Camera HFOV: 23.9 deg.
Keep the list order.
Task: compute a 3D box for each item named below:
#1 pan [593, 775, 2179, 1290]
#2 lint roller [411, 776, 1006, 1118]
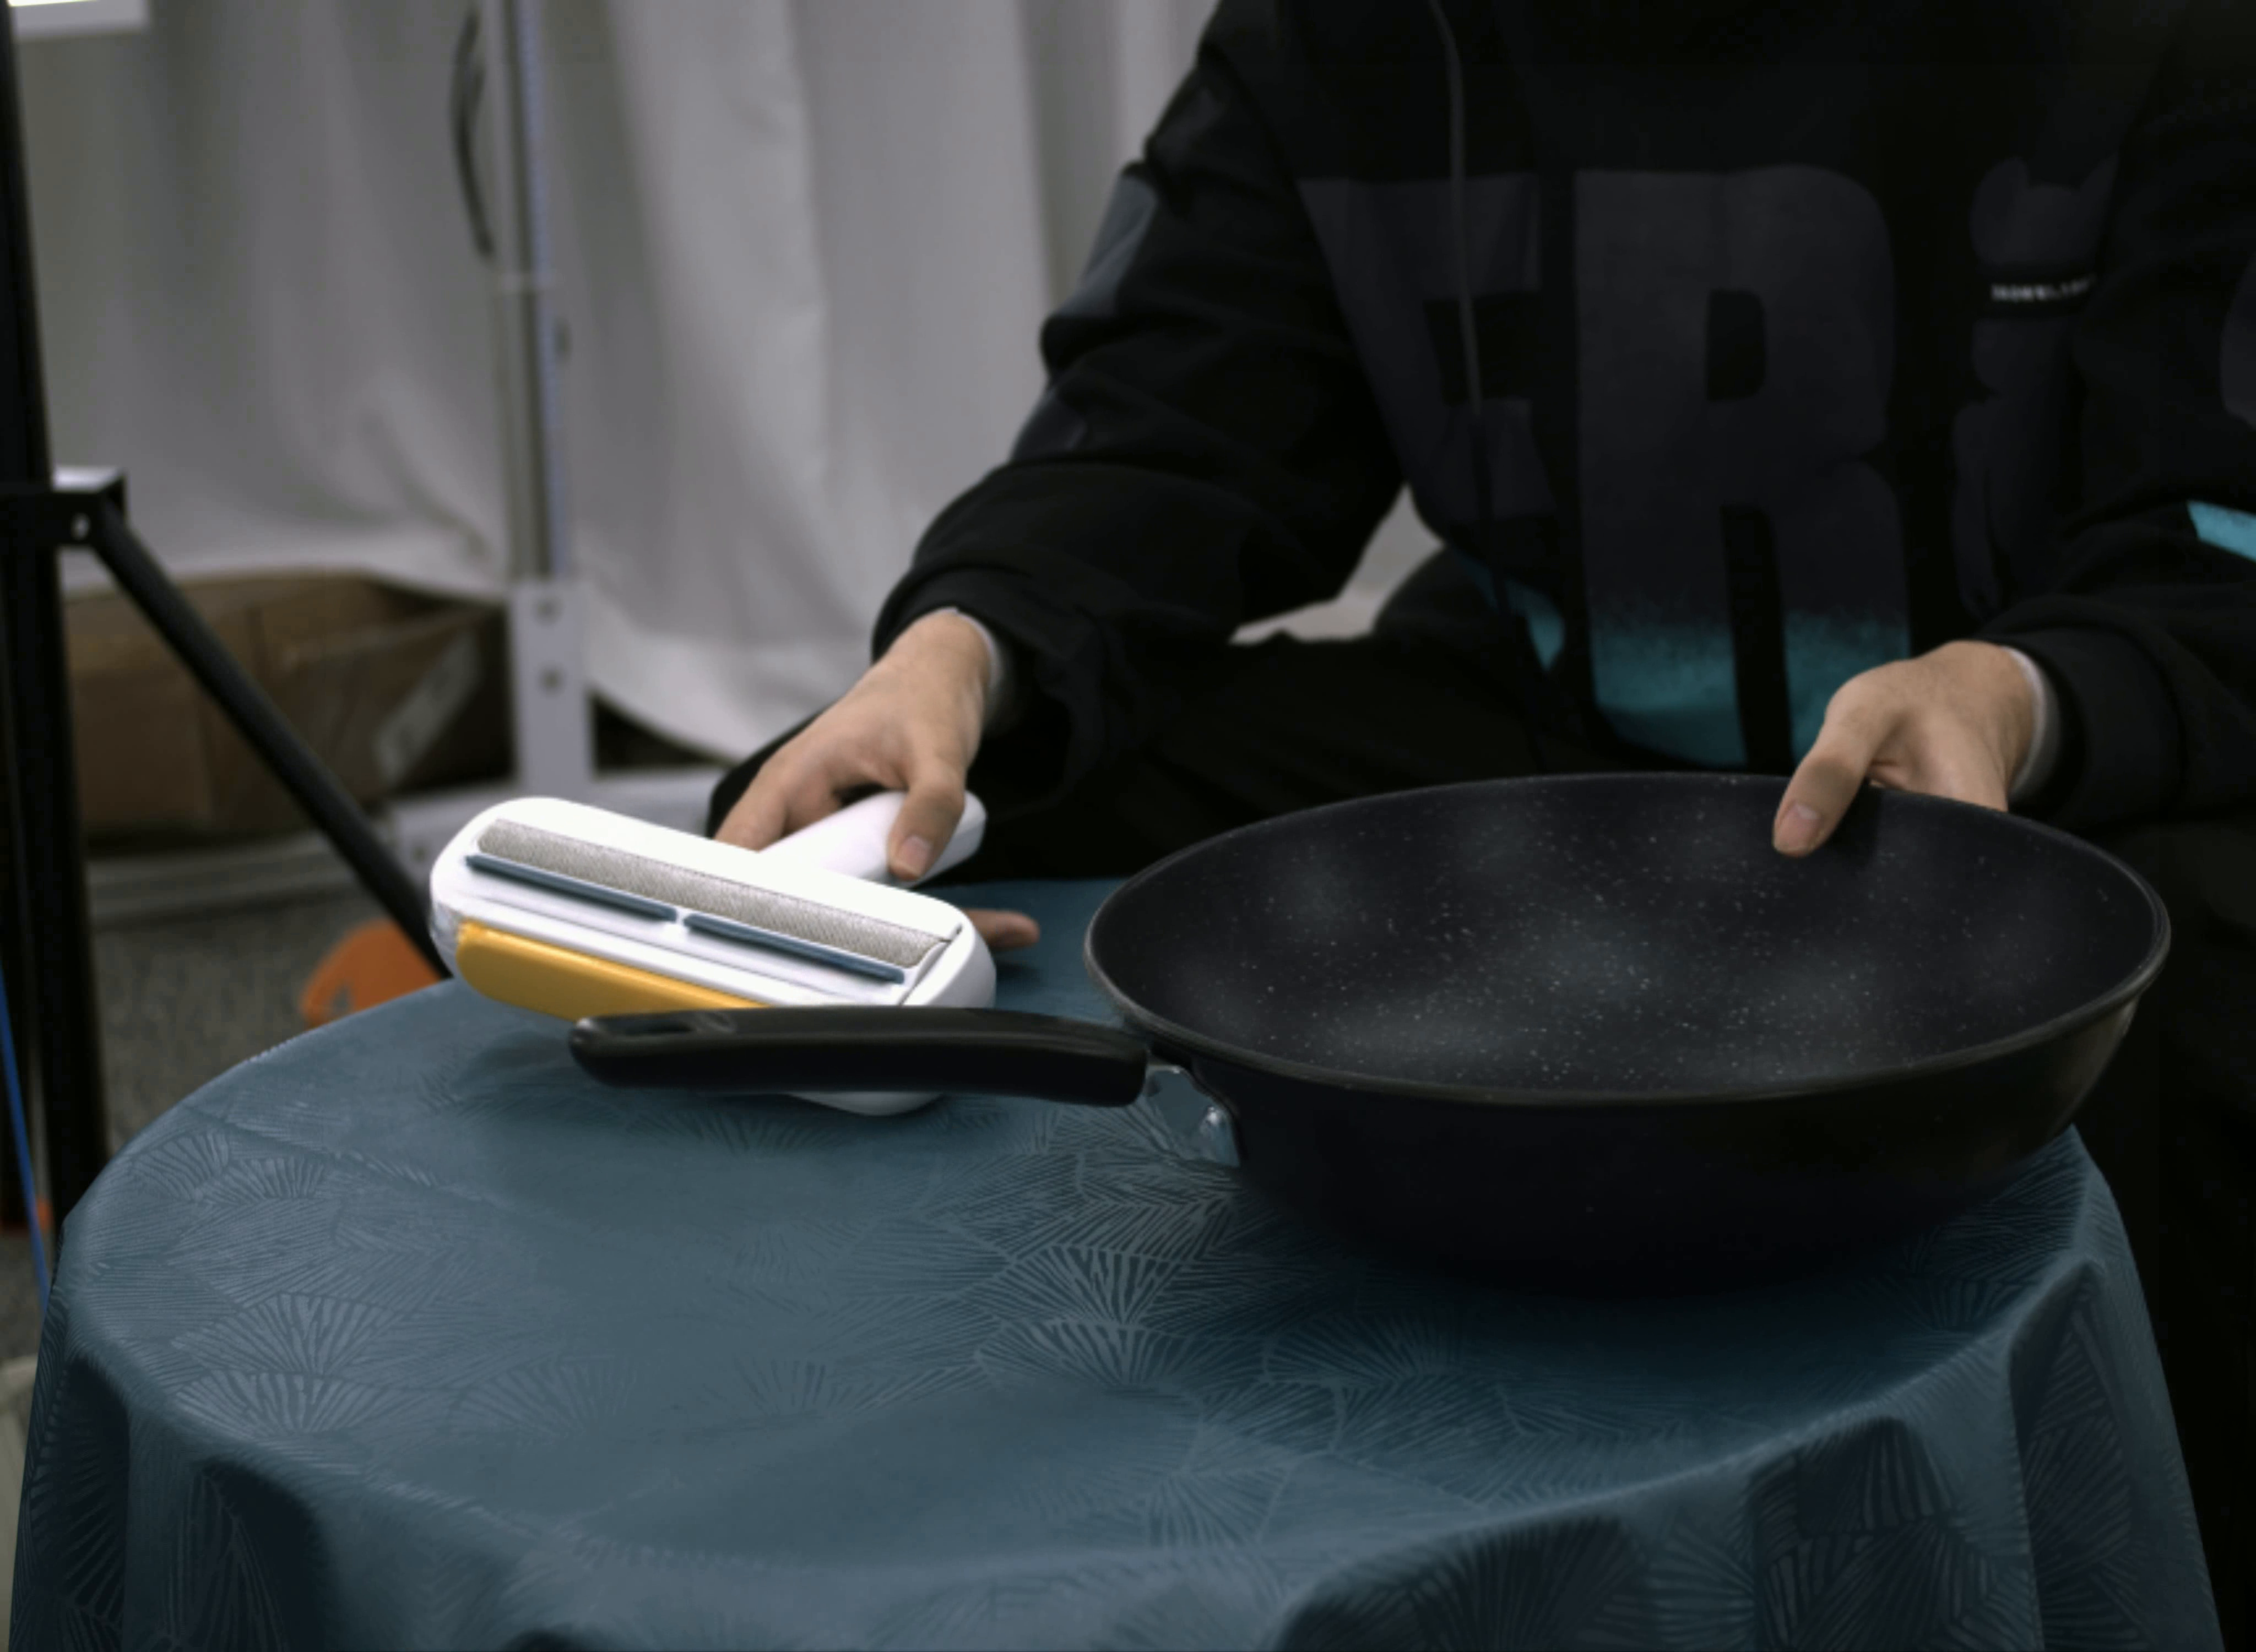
[{"bbox_3d":[0.074,0.069,1.486,0.467,0.111,0.317,-11,16,-26],"label":"pan"},{"bbox_3d":[-0.106,0.019,1.721,0.196,0.074,0.190,12,35,32],"label":"lint roller"}]
